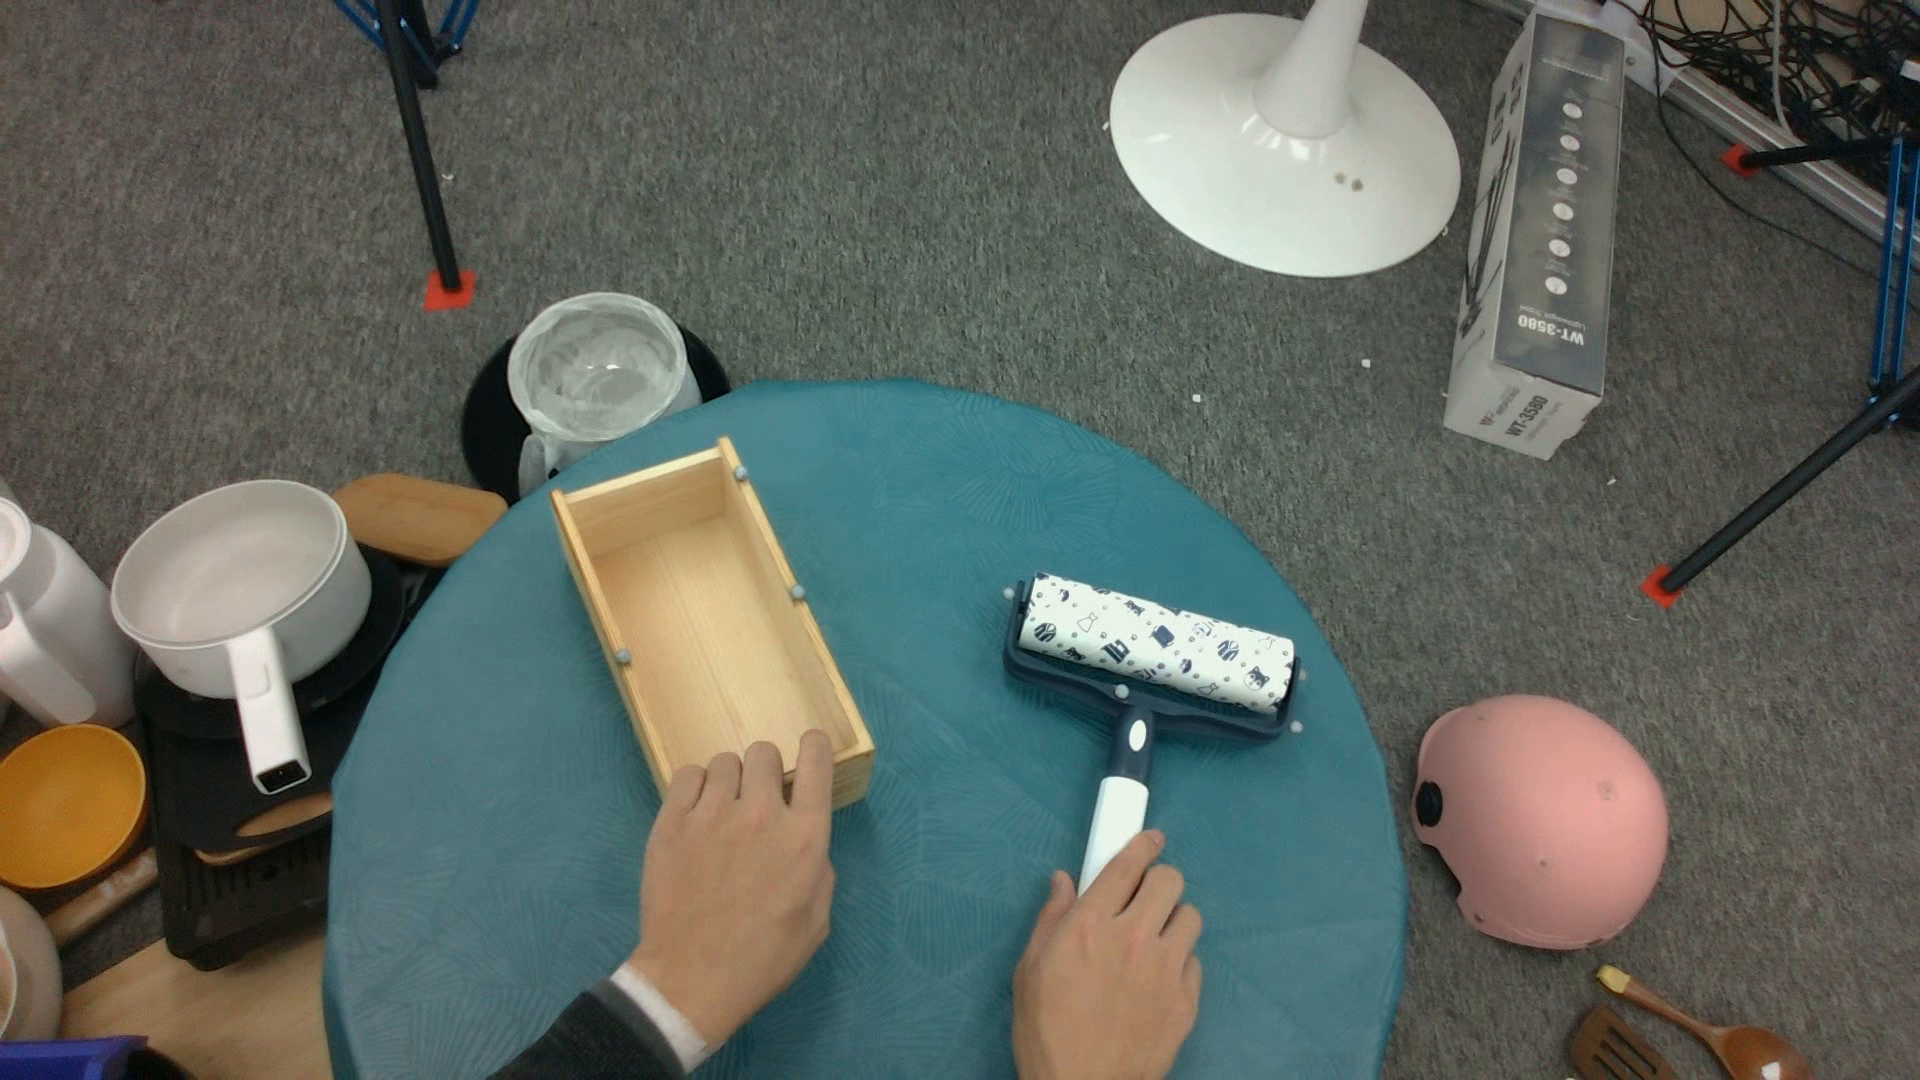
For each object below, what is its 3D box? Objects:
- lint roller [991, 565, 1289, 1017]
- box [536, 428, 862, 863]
[{"bbox_3d":[0.088,0.142,0.779,0.176,0.050,0.248,15,60,-1],"label":"lint roller"},{"bbox_3d":[-0.148,0.056,0.772,0.108,0.080,0.212,-21,66,-19],"label":"box"}]
